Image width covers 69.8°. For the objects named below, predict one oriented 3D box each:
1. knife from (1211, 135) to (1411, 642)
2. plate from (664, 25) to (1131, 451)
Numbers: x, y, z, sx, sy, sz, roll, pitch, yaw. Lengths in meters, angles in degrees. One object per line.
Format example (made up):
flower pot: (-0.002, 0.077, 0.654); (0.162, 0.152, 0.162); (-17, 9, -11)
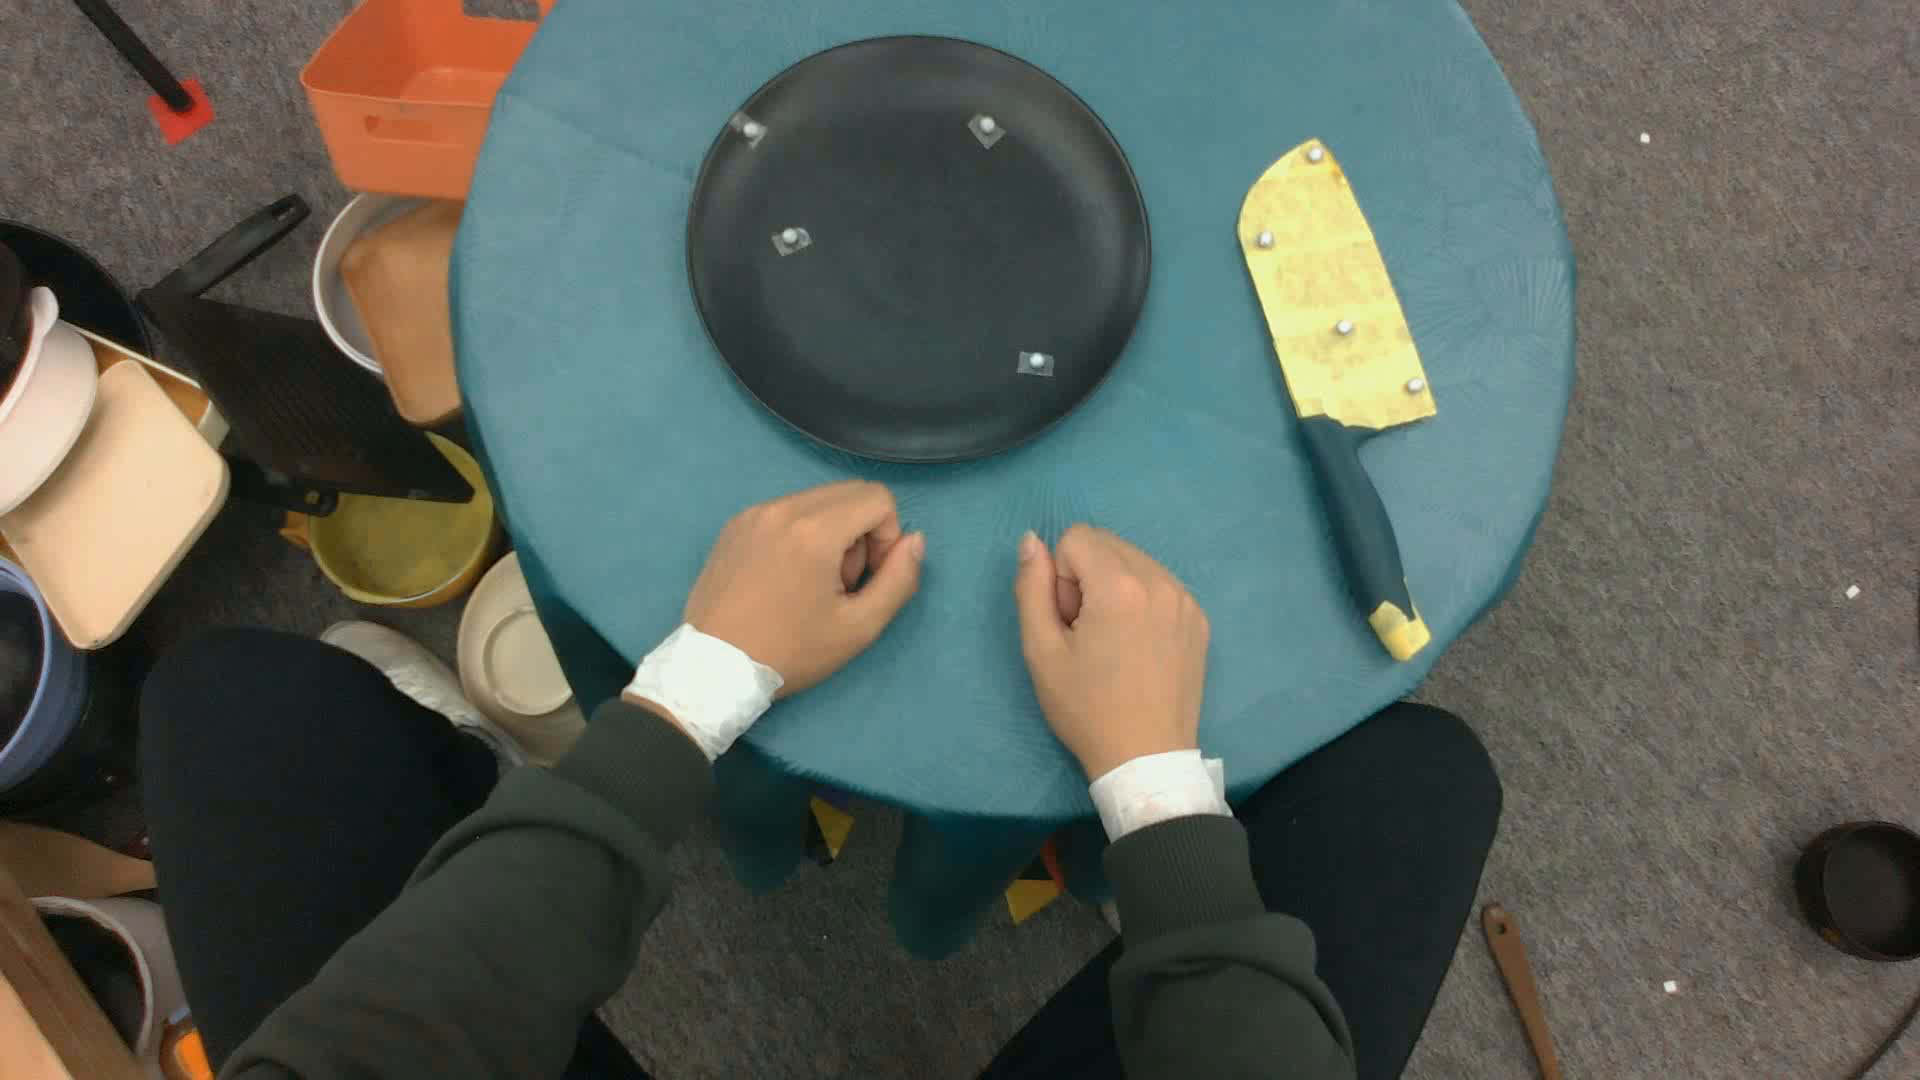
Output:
knife: (0.196, -0.089, 0.730); (0.081, 0.027, 0.290); (-10, 75, -5)
plate: (-0.032, -0.161, 0.727); (0.244, 0.023, 0.245); (1, 75, -4)
